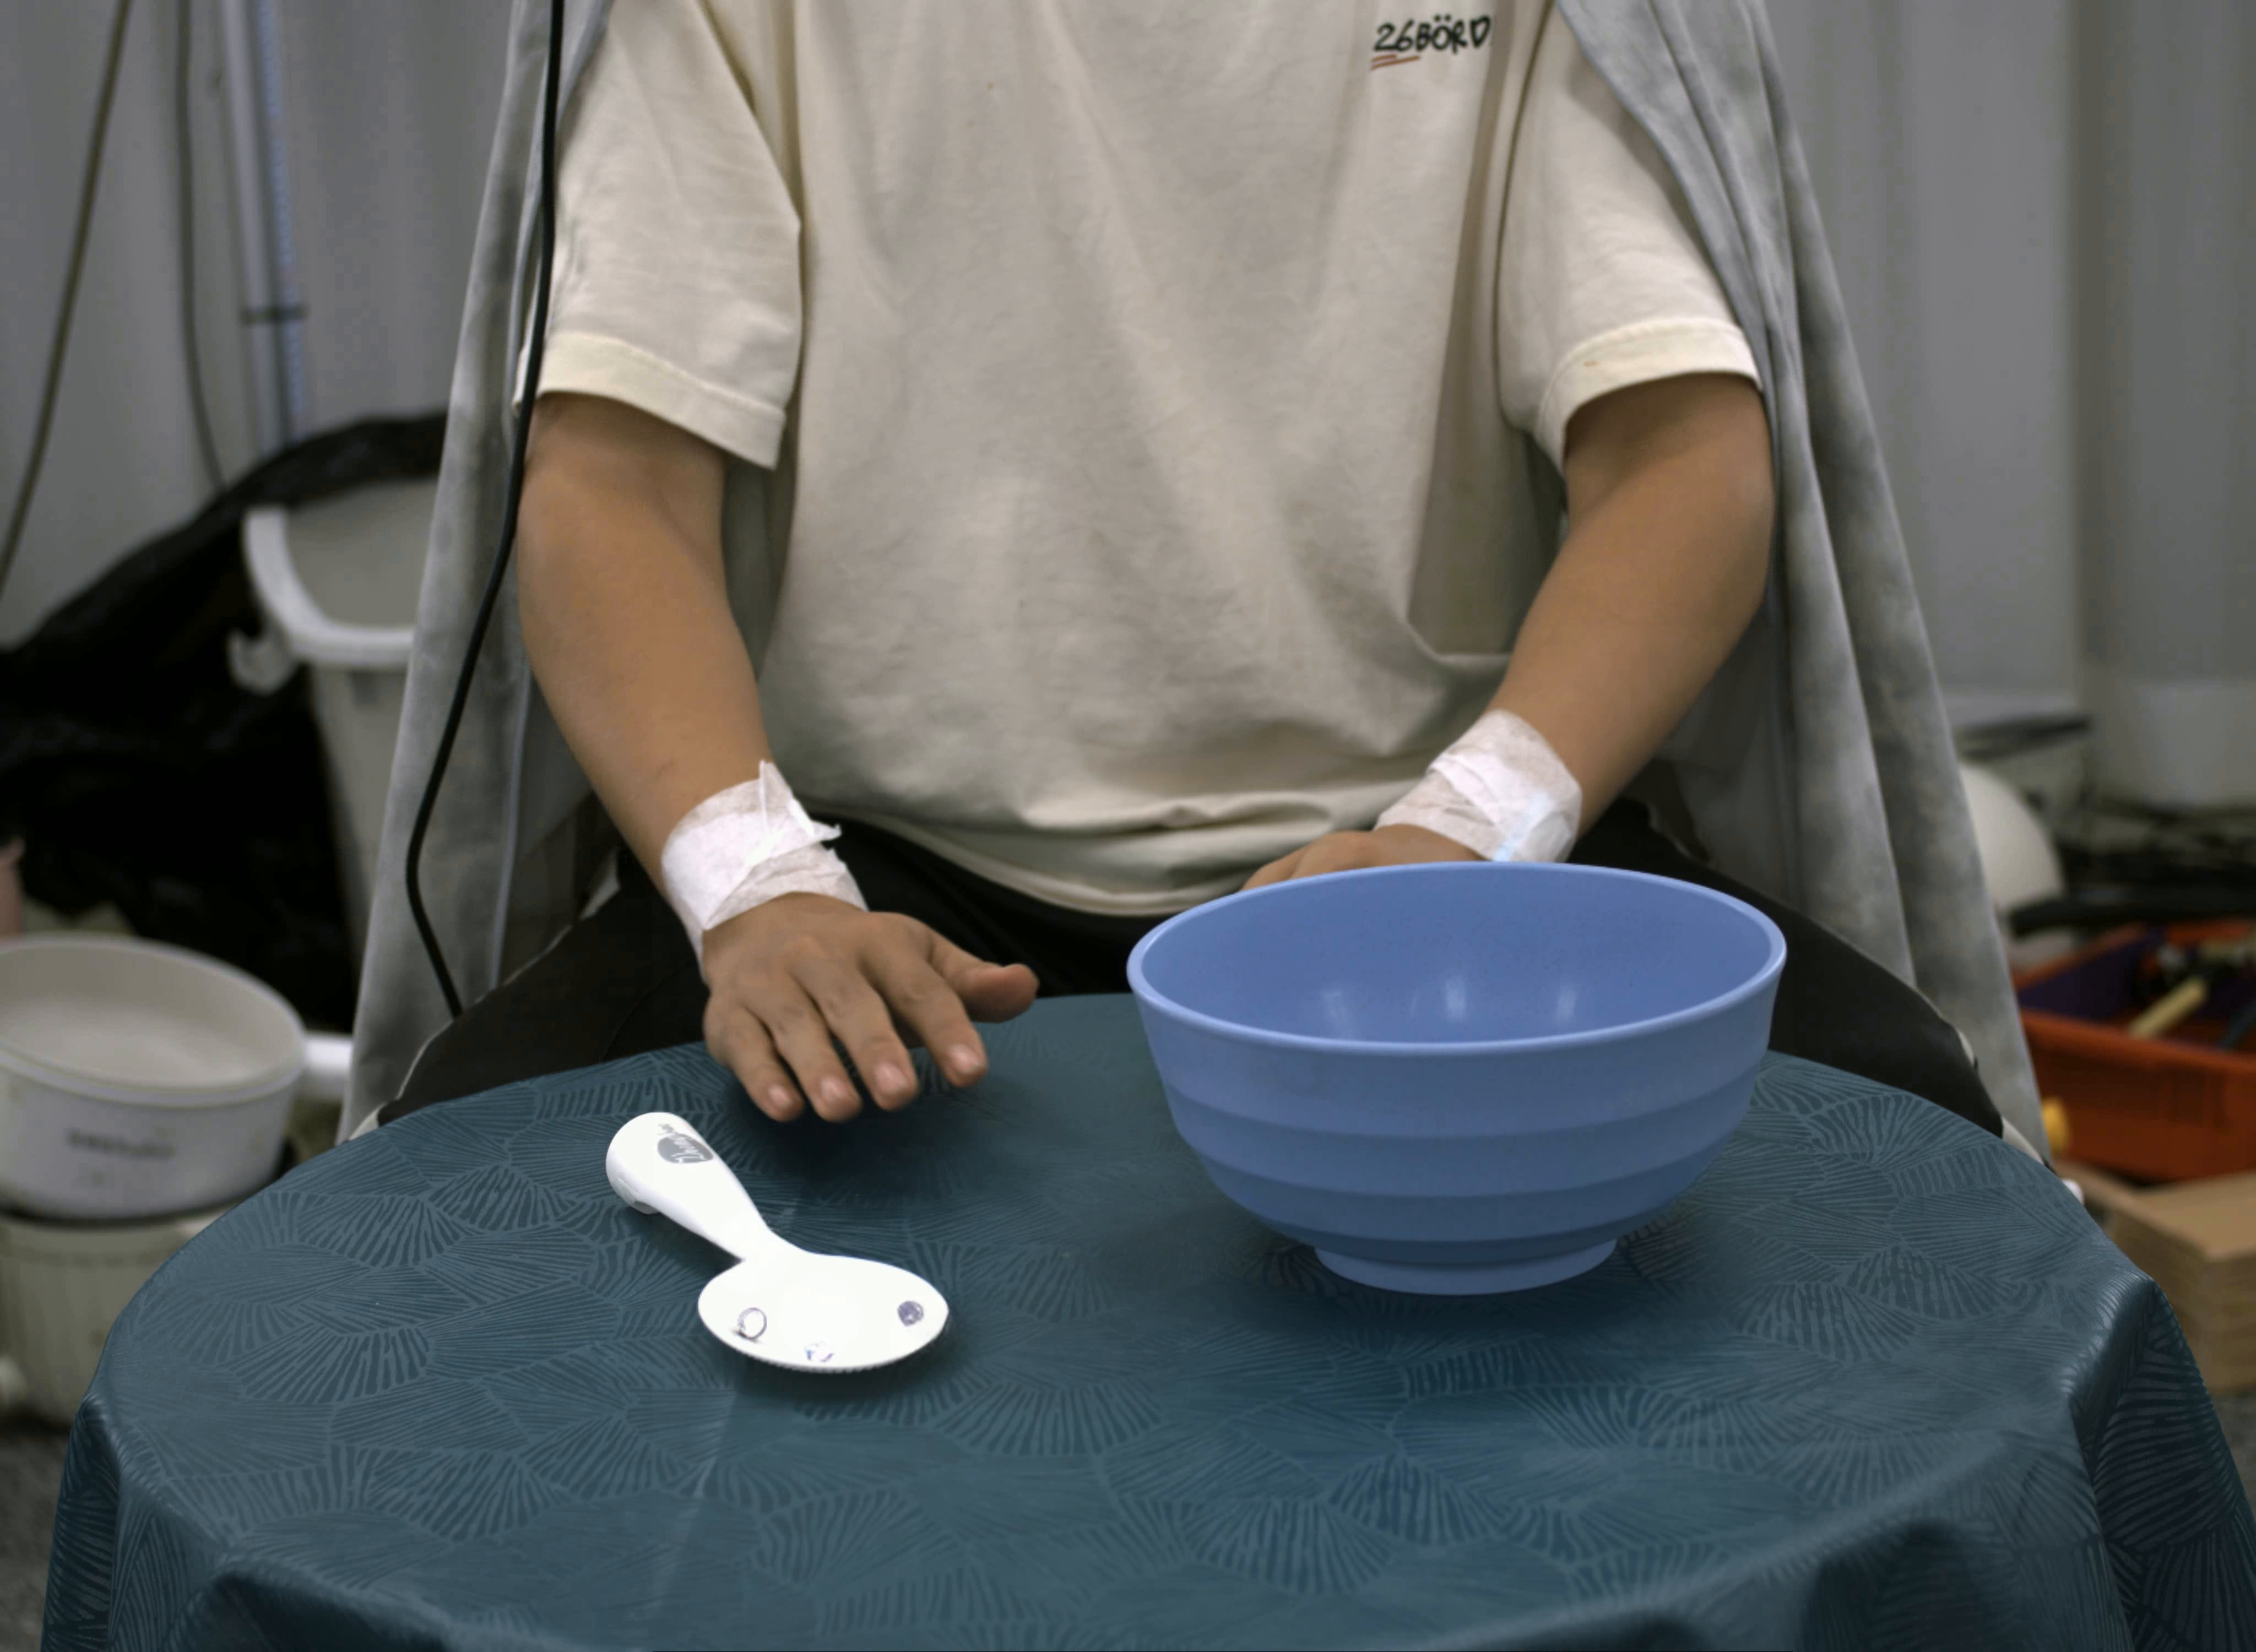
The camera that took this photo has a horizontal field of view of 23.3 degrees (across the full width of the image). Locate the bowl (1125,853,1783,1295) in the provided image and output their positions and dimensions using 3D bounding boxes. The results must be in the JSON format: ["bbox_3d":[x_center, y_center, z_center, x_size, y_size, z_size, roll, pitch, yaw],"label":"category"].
[{"bbox_3d":[0.099,0.080,1.642,0.196,0.095,0.198,-4,16,1],"label":"bowl"}]

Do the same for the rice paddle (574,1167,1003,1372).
[{"bbox_3d":[-0.104,0.134,1.628,0.068,0.029,0.206,3,6,-33],"label":"rice paddle"}]
